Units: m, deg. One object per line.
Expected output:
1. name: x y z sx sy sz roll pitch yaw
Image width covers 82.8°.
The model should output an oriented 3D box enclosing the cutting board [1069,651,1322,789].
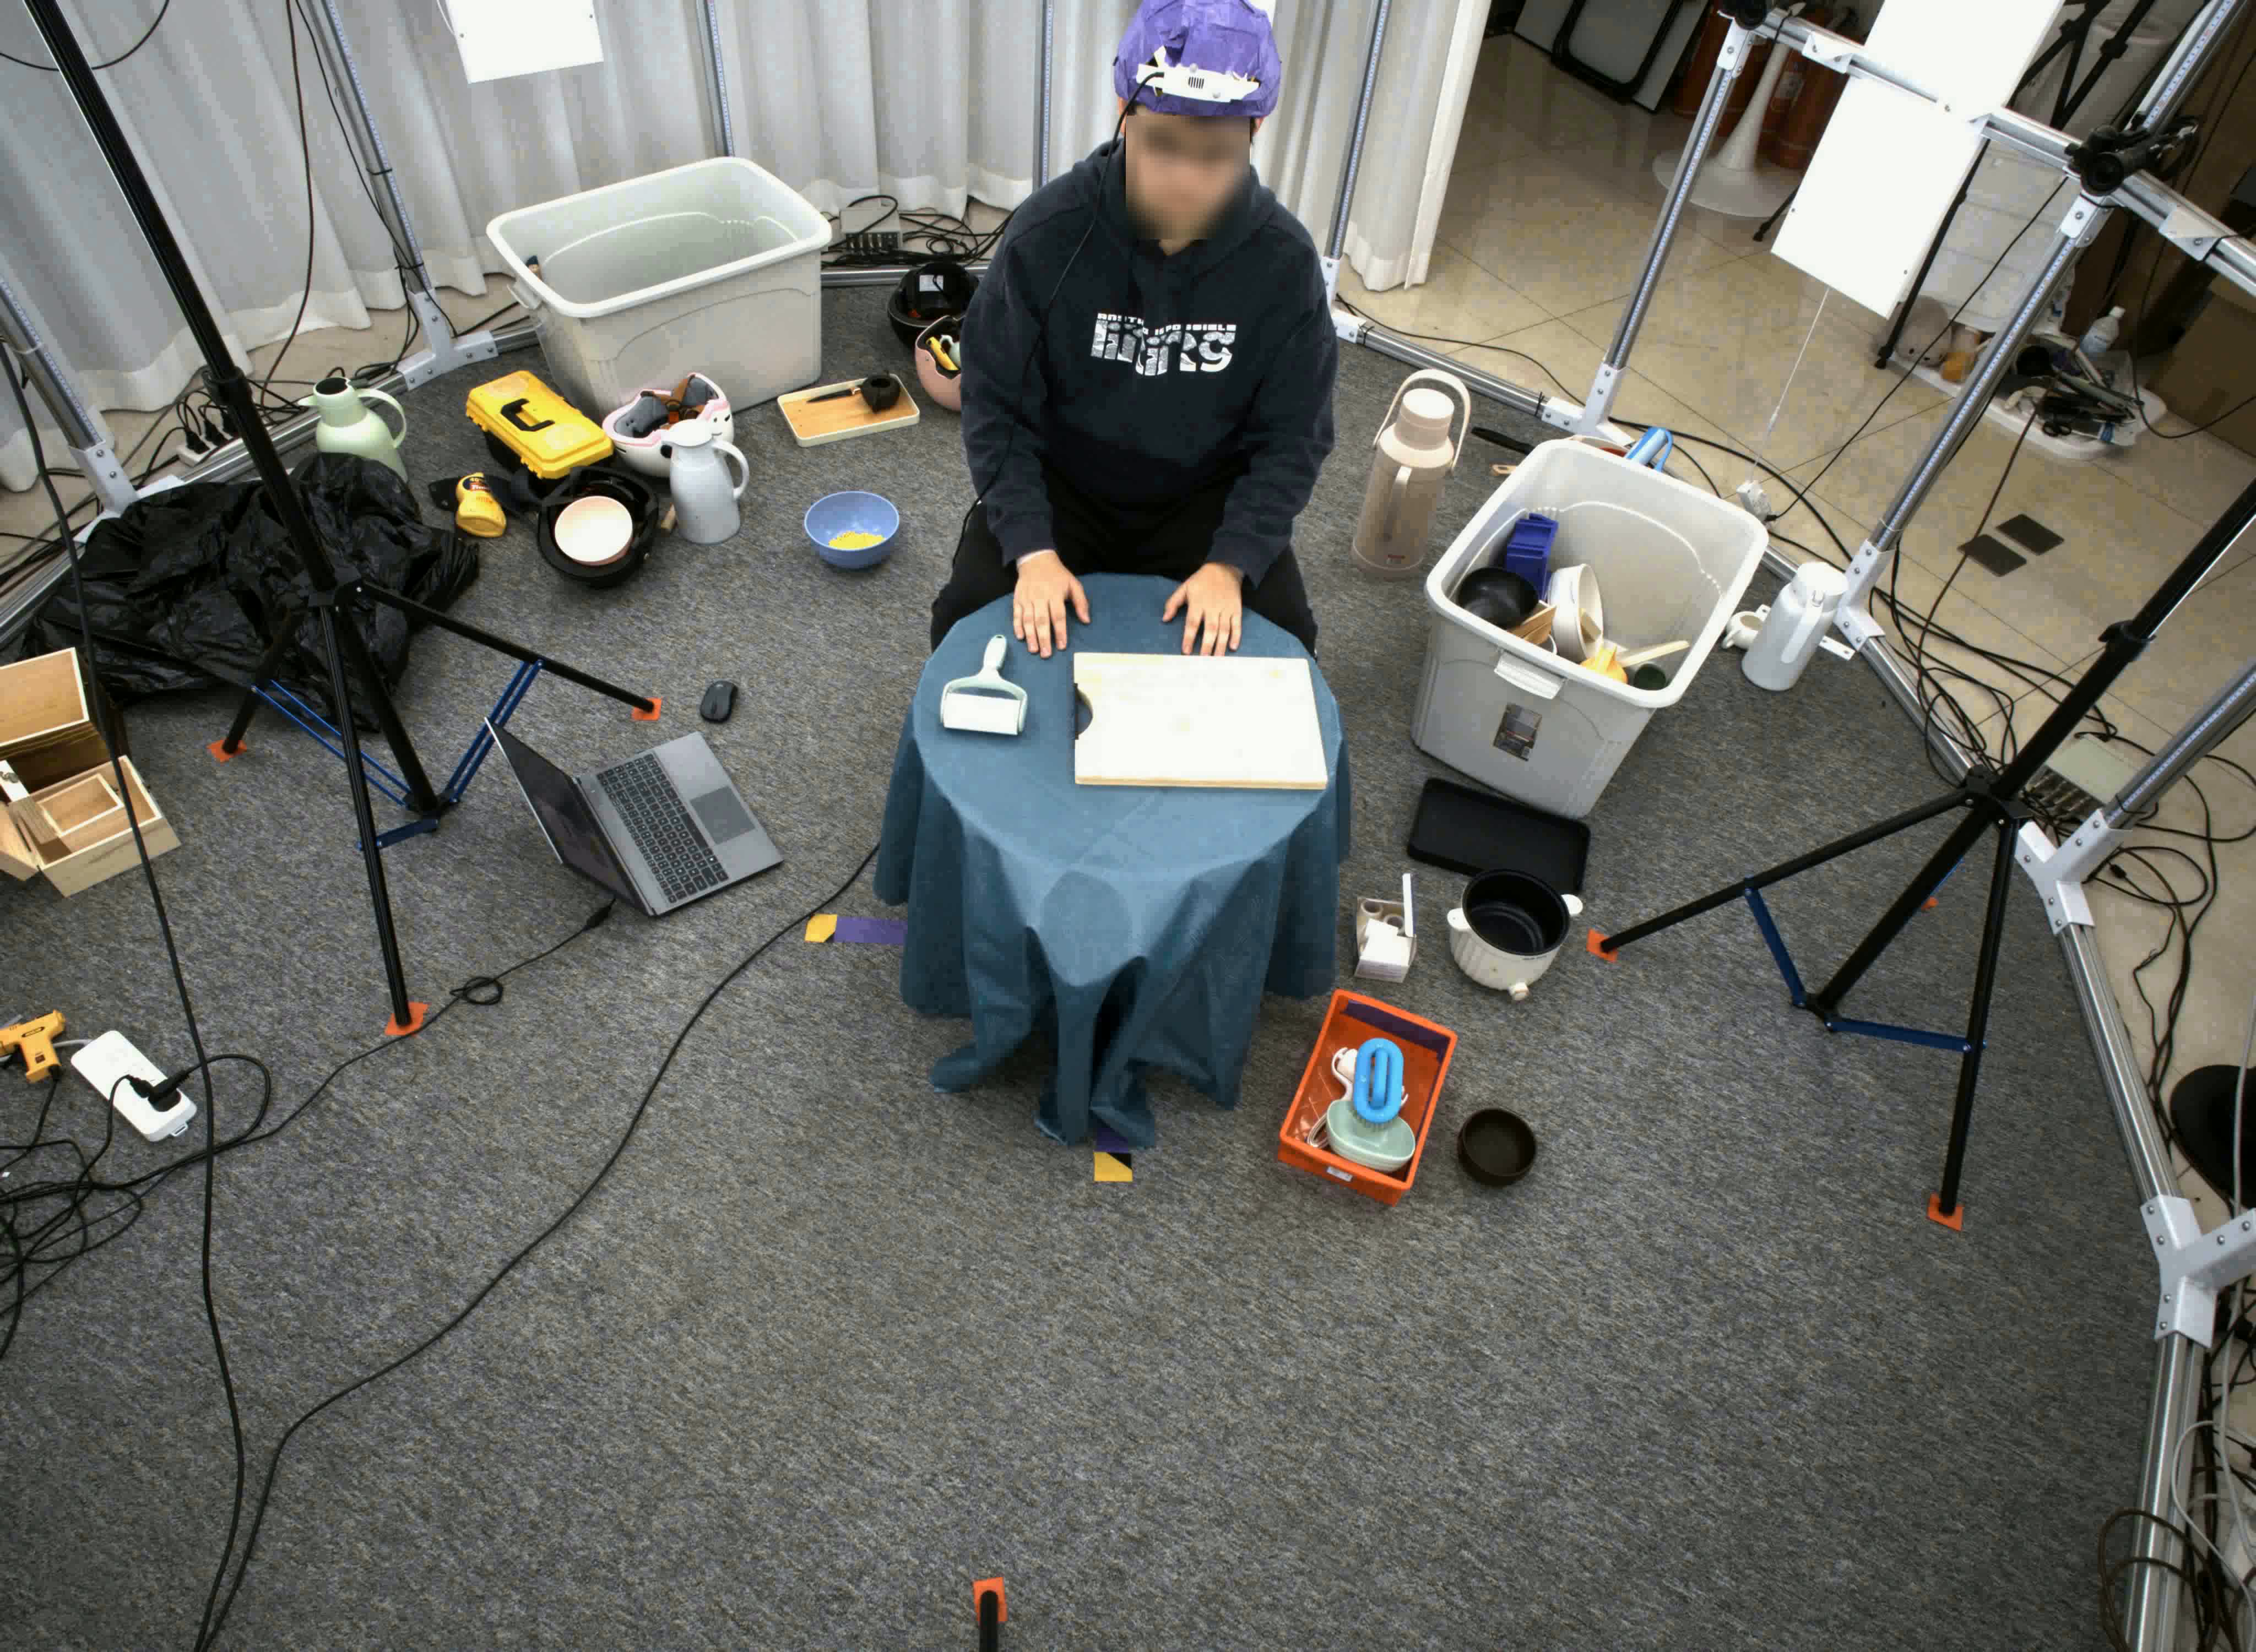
1. cutting board: 0.090 -0.151 1.793 0.348 0.023 0.257 0 48 -4

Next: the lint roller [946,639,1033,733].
1. lint roller: -0.185 -0.207 1.804 0.116 0.047 0.202 4 47 2
